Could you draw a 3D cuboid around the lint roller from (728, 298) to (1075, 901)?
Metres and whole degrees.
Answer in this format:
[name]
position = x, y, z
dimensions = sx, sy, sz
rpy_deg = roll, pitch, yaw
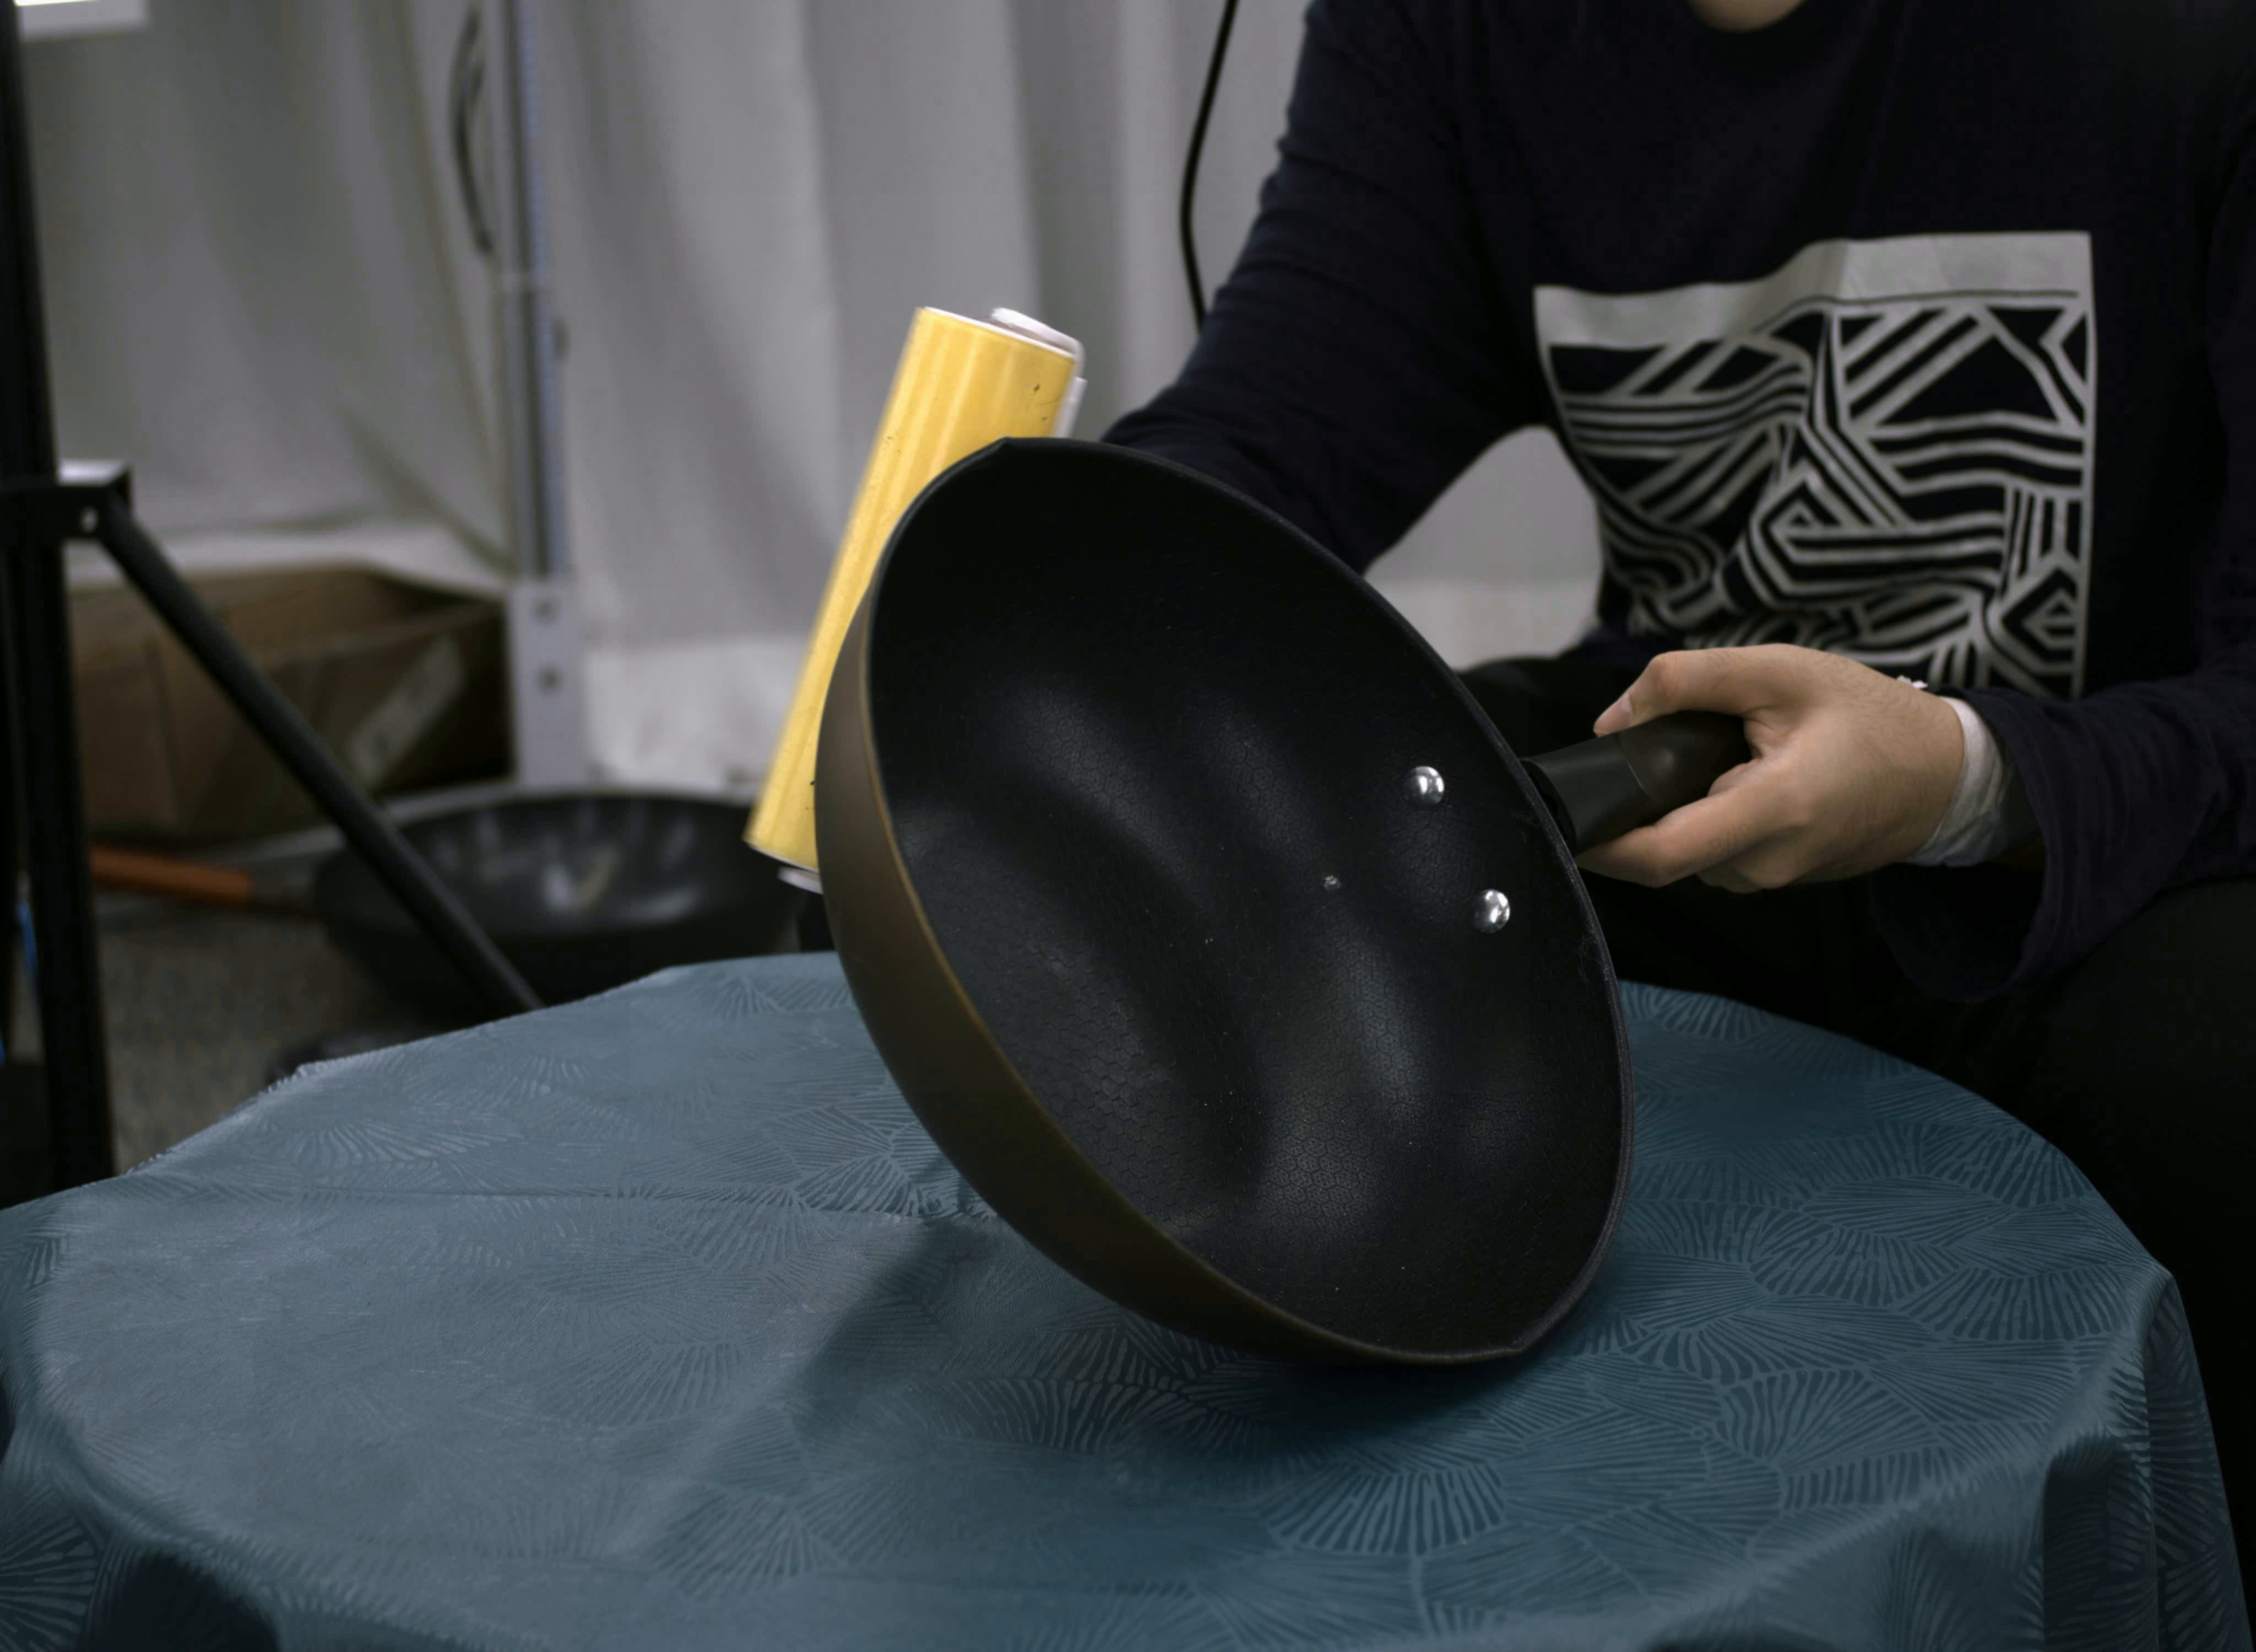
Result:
[lint roller]
position = -0.043, -0.058, 1.575
dimensions = 0.052, 0.175, 0.189
rpy_deg = 21, 2, 16

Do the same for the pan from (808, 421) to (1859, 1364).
[pan]
position = 0.065, 0.016, 1.524
dimensions = 0.088, 0.291, 0.453
rpy_deg = -37, -14, 36
